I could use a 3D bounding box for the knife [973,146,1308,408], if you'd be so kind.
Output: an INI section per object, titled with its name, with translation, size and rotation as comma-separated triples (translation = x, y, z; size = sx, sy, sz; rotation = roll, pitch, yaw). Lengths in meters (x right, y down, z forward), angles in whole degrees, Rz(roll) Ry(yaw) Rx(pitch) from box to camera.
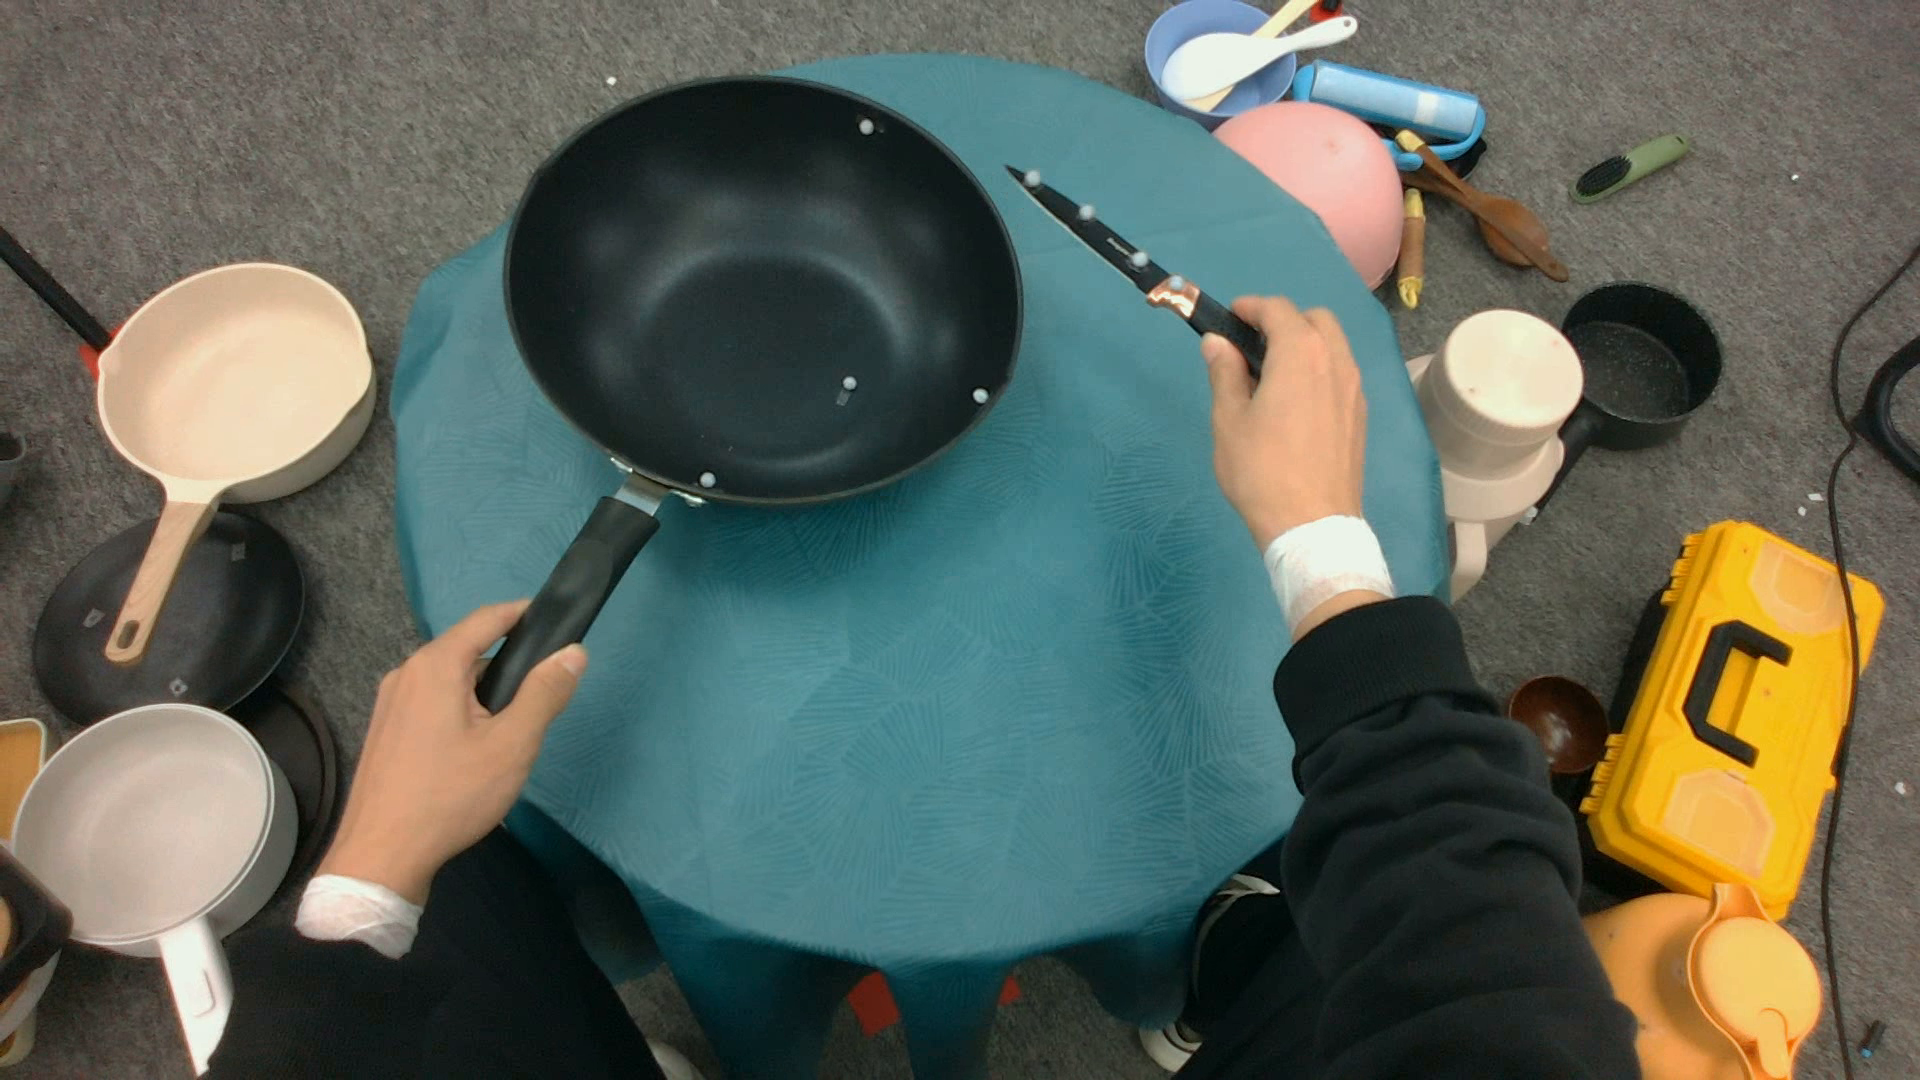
[knife]
translation = 0.094, -0.145, 0.734
size = 0.225, 0.017, 0.026
rotation = 42, 69, 12

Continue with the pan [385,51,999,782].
[pan]
translation = -0.158, -0.069, 0.751
size = 0.288, 0.086, 0.465
rotation = 24, 65, 2
